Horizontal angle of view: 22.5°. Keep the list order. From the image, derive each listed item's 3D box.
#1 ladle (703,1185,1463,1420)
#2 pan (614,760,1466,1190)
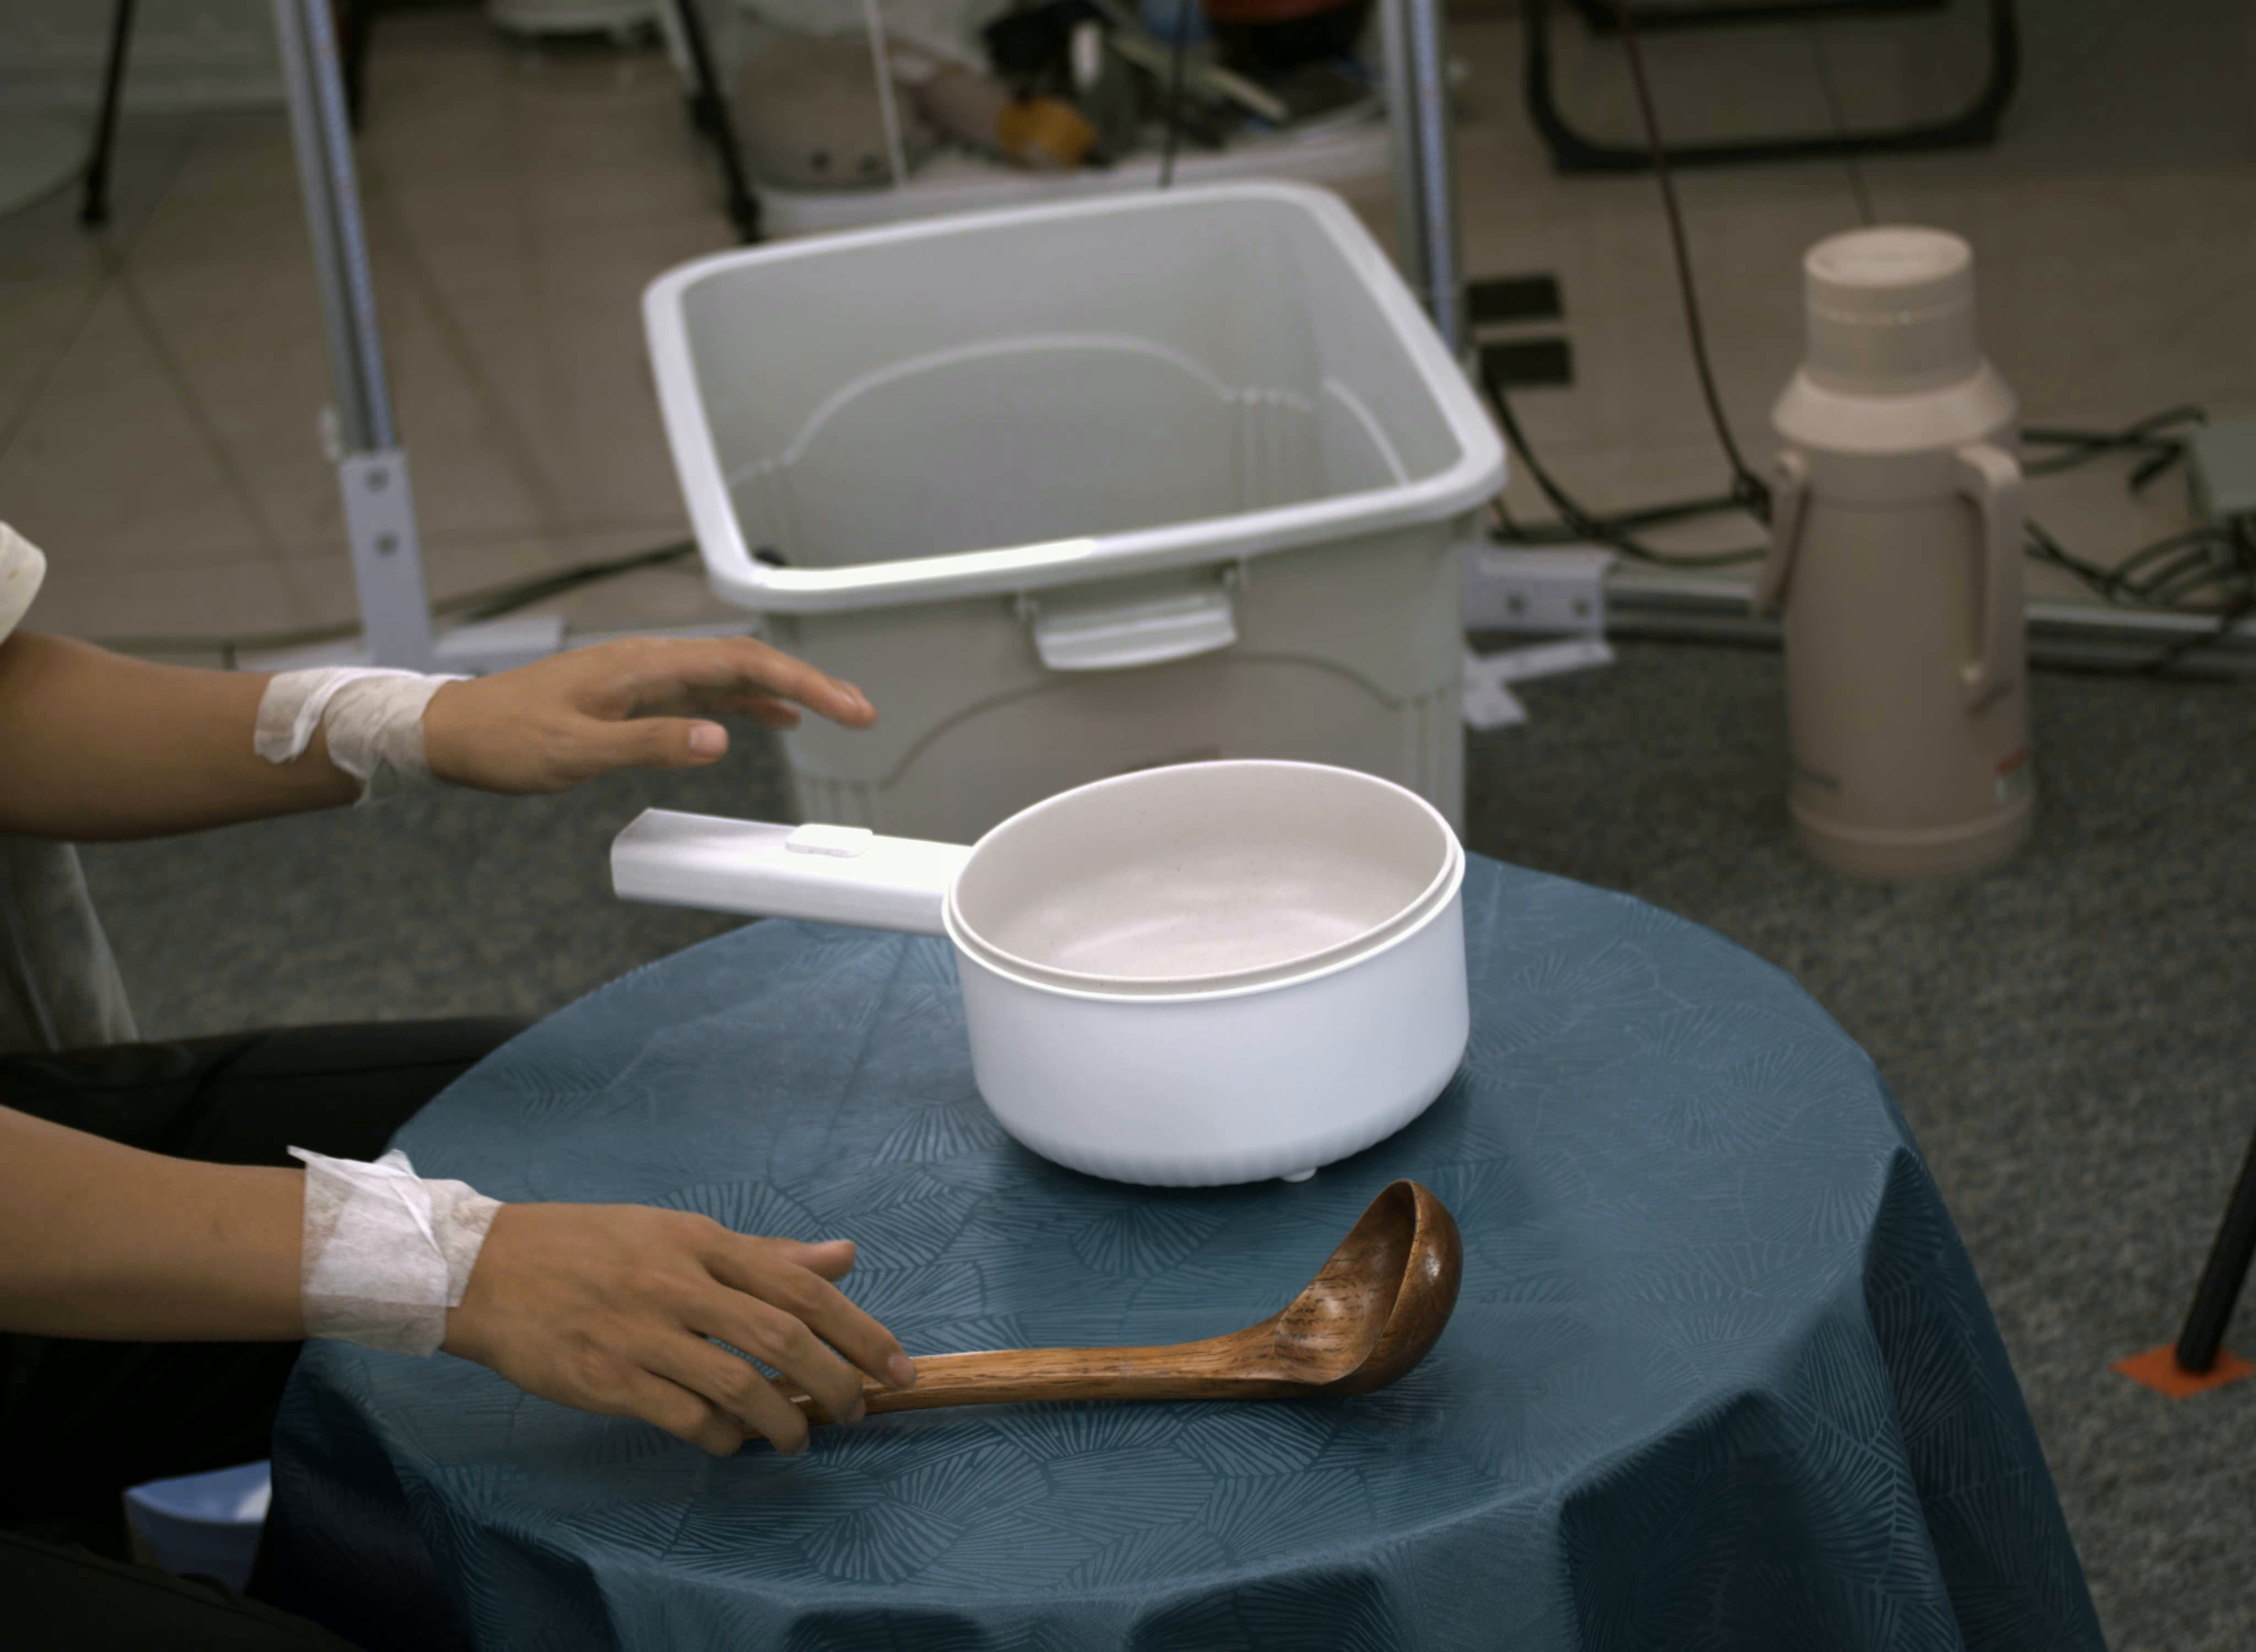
[{"bbox_3d":[-0.018,0.170,1.994,0.273,0.078,0.080,-2,28,6],"label":"ladle"},{"bbox_3d":[-0.037,0.055,2.223,0.353,0.104,0.198,5,29,25],"label":"pan"}]
